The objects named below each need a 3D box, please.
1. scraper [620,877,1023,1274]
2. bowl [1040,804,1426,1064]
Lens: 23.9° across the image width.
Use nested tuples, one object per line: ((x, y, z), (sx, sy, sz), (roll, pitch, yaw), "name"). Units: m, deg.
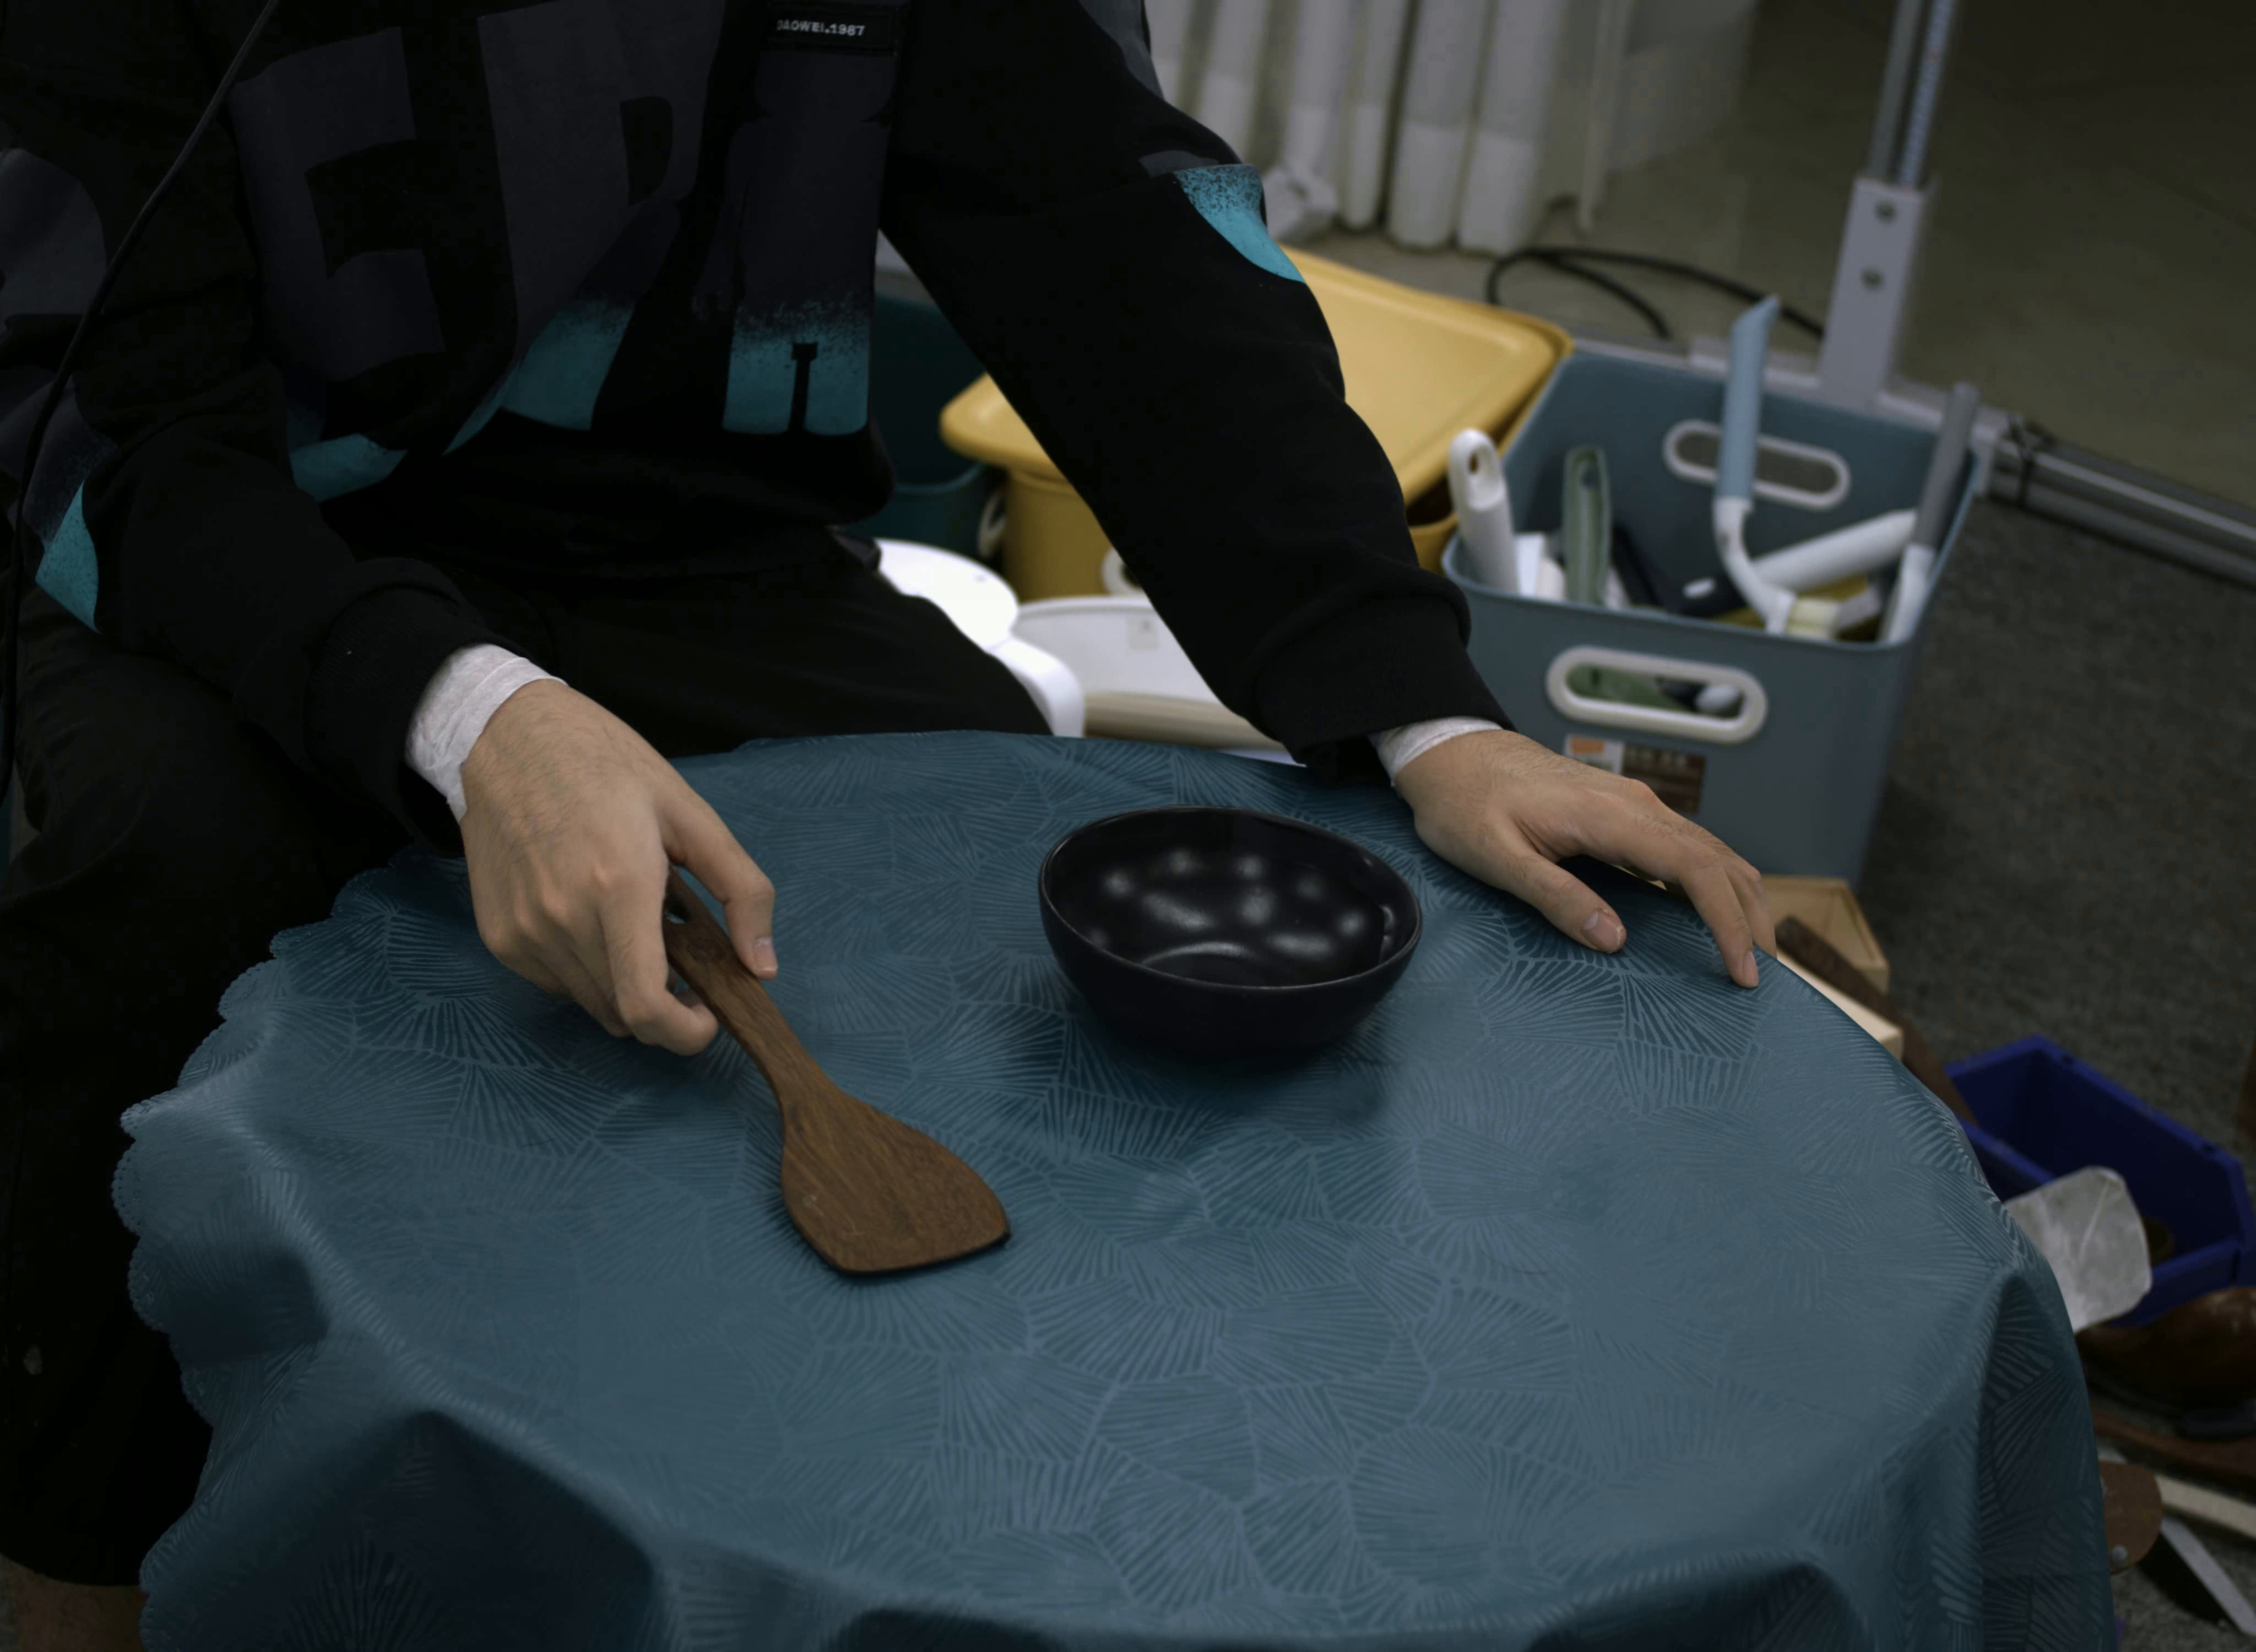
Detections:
((-0.115, 0.083, 1.811), (0.075, 0.011, 0.213), (-10, 42, -33), "scraper")
((0.036, 0.046, 1.908), (0.139, 0.049, 0.141), (3, 28, -2), "bowl")
